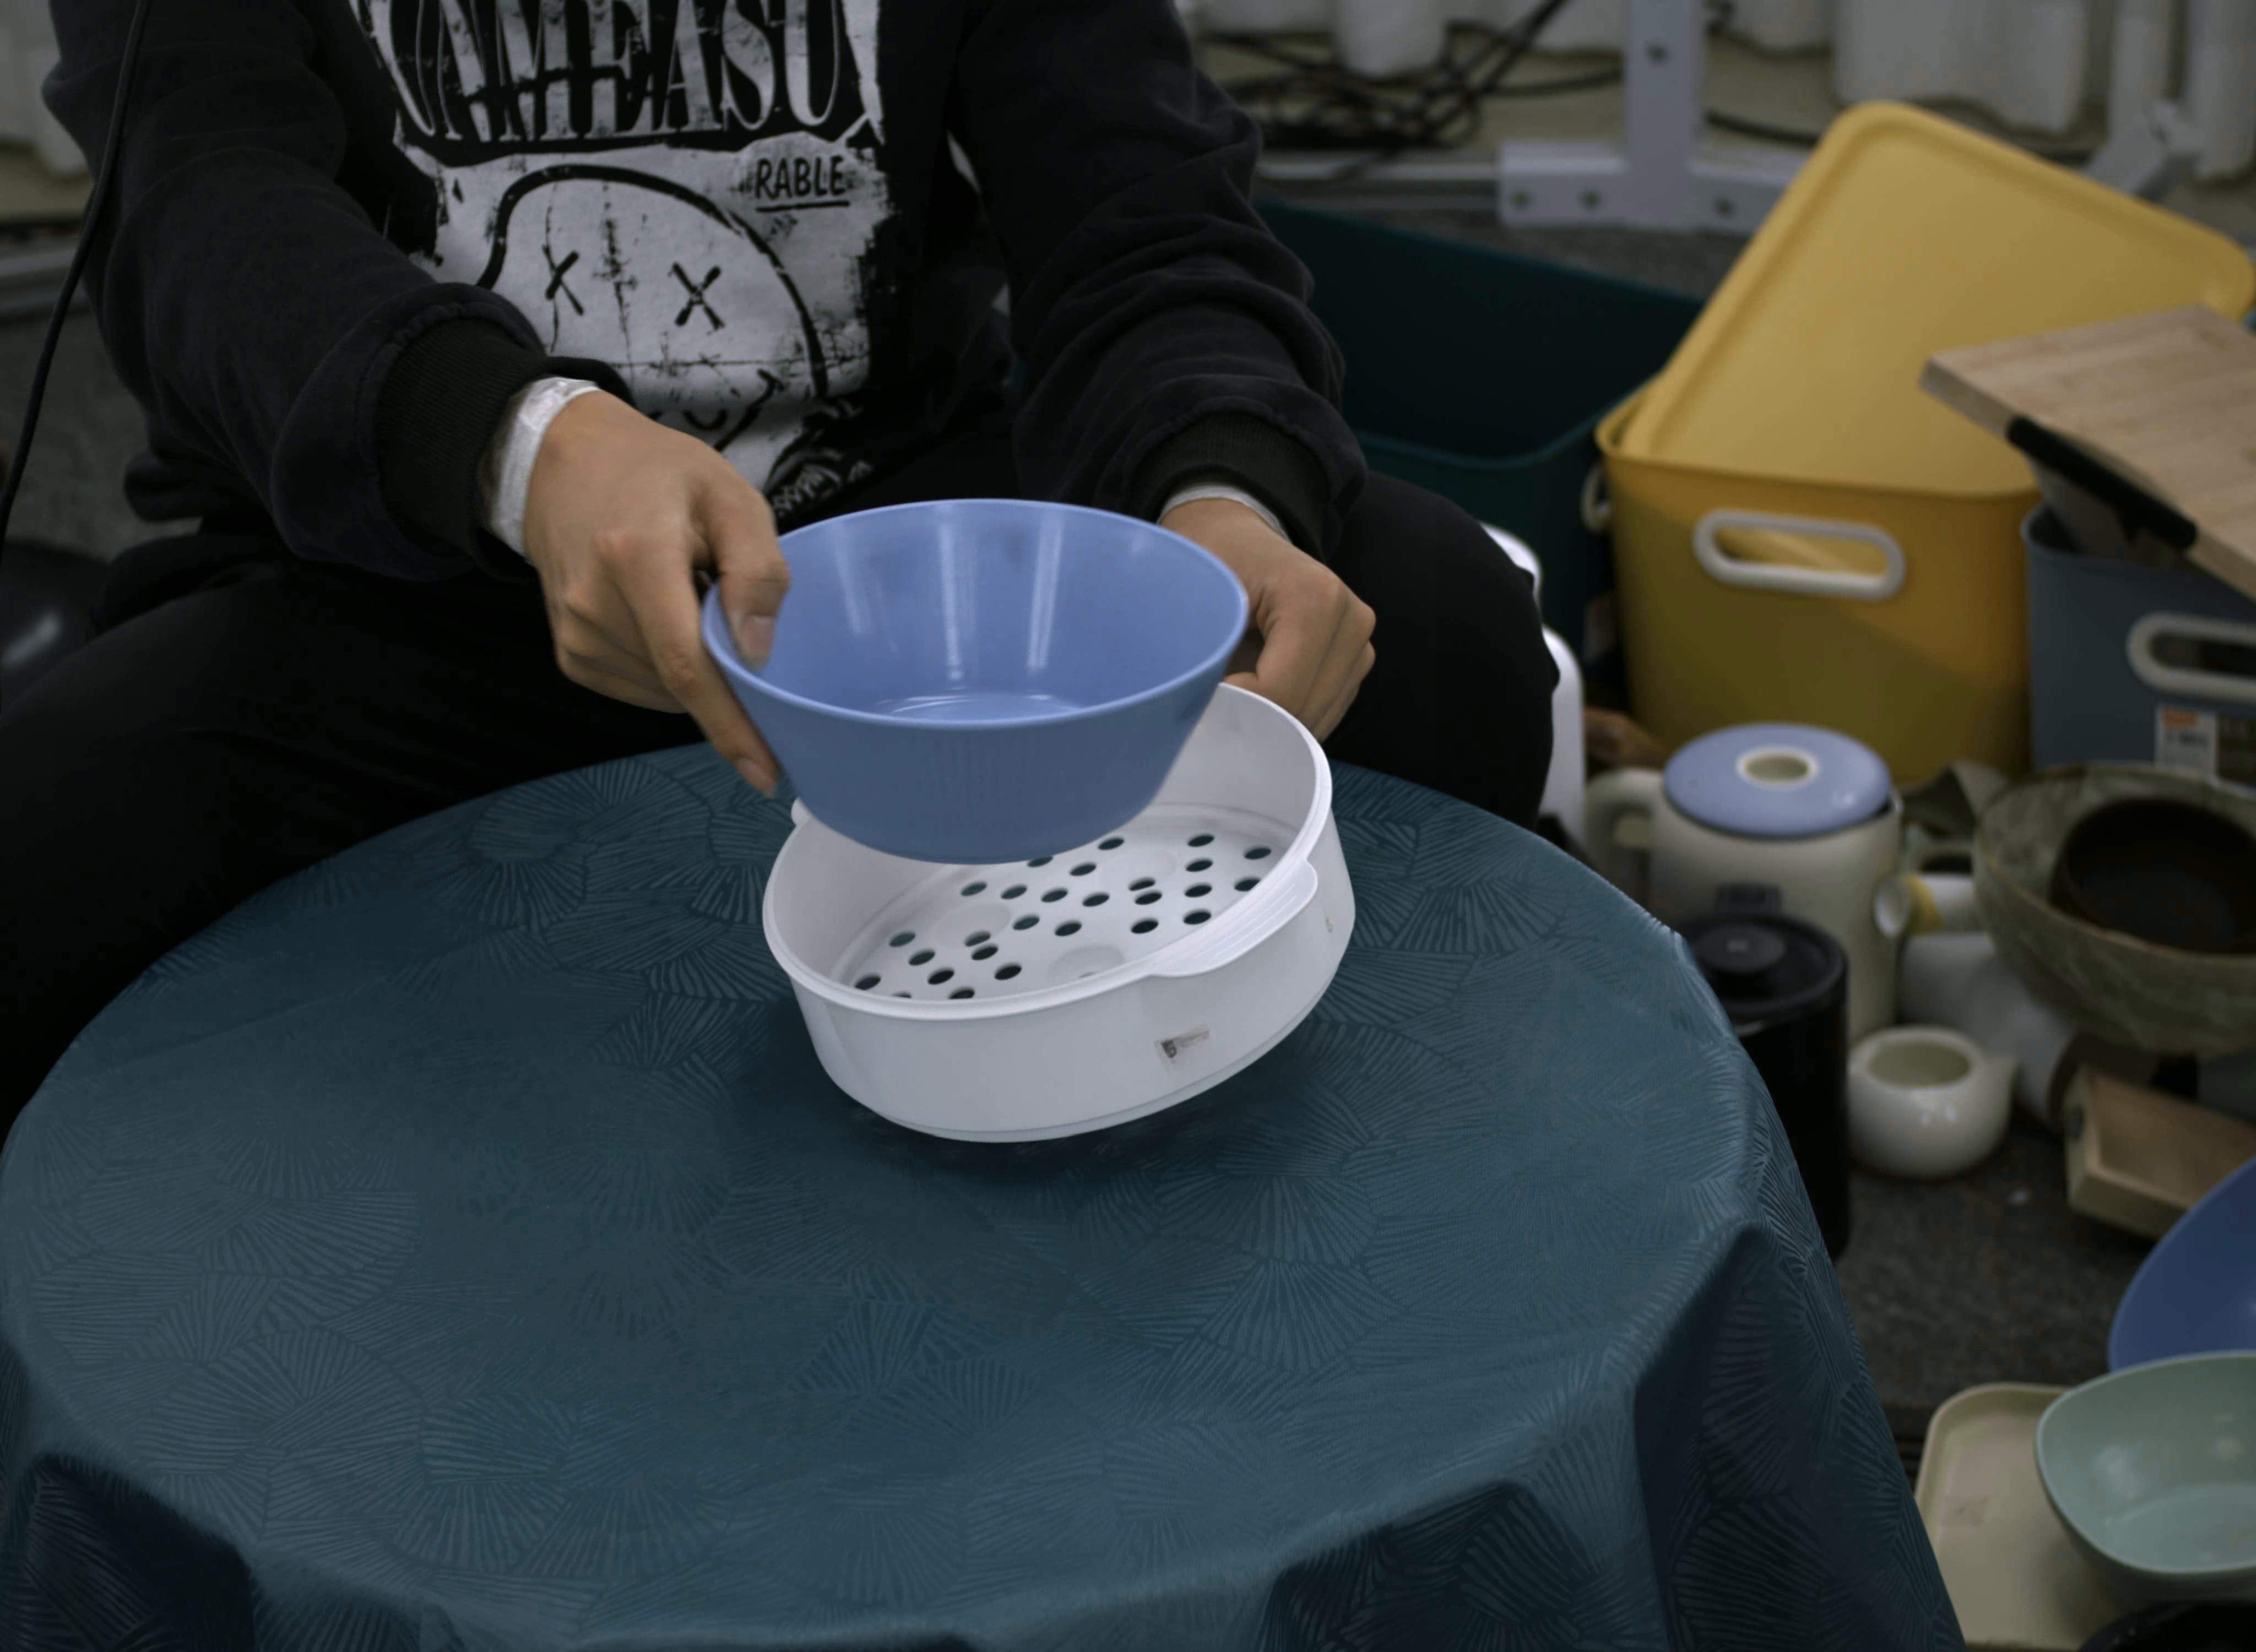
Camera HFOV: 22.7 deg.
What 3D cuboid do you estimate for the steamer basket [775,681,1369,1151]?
[{"bbox_3d":[-0.016,0.030,1.918,0.204,0.068,0.230,-35,37,-30],"label":"steamer basket"}]

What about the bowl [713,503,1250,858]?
[{"bbox_3d":[-0.047,-0.043,1.832,0.175,0.069,0.178,0,25,0],"label":"bowl"}]
